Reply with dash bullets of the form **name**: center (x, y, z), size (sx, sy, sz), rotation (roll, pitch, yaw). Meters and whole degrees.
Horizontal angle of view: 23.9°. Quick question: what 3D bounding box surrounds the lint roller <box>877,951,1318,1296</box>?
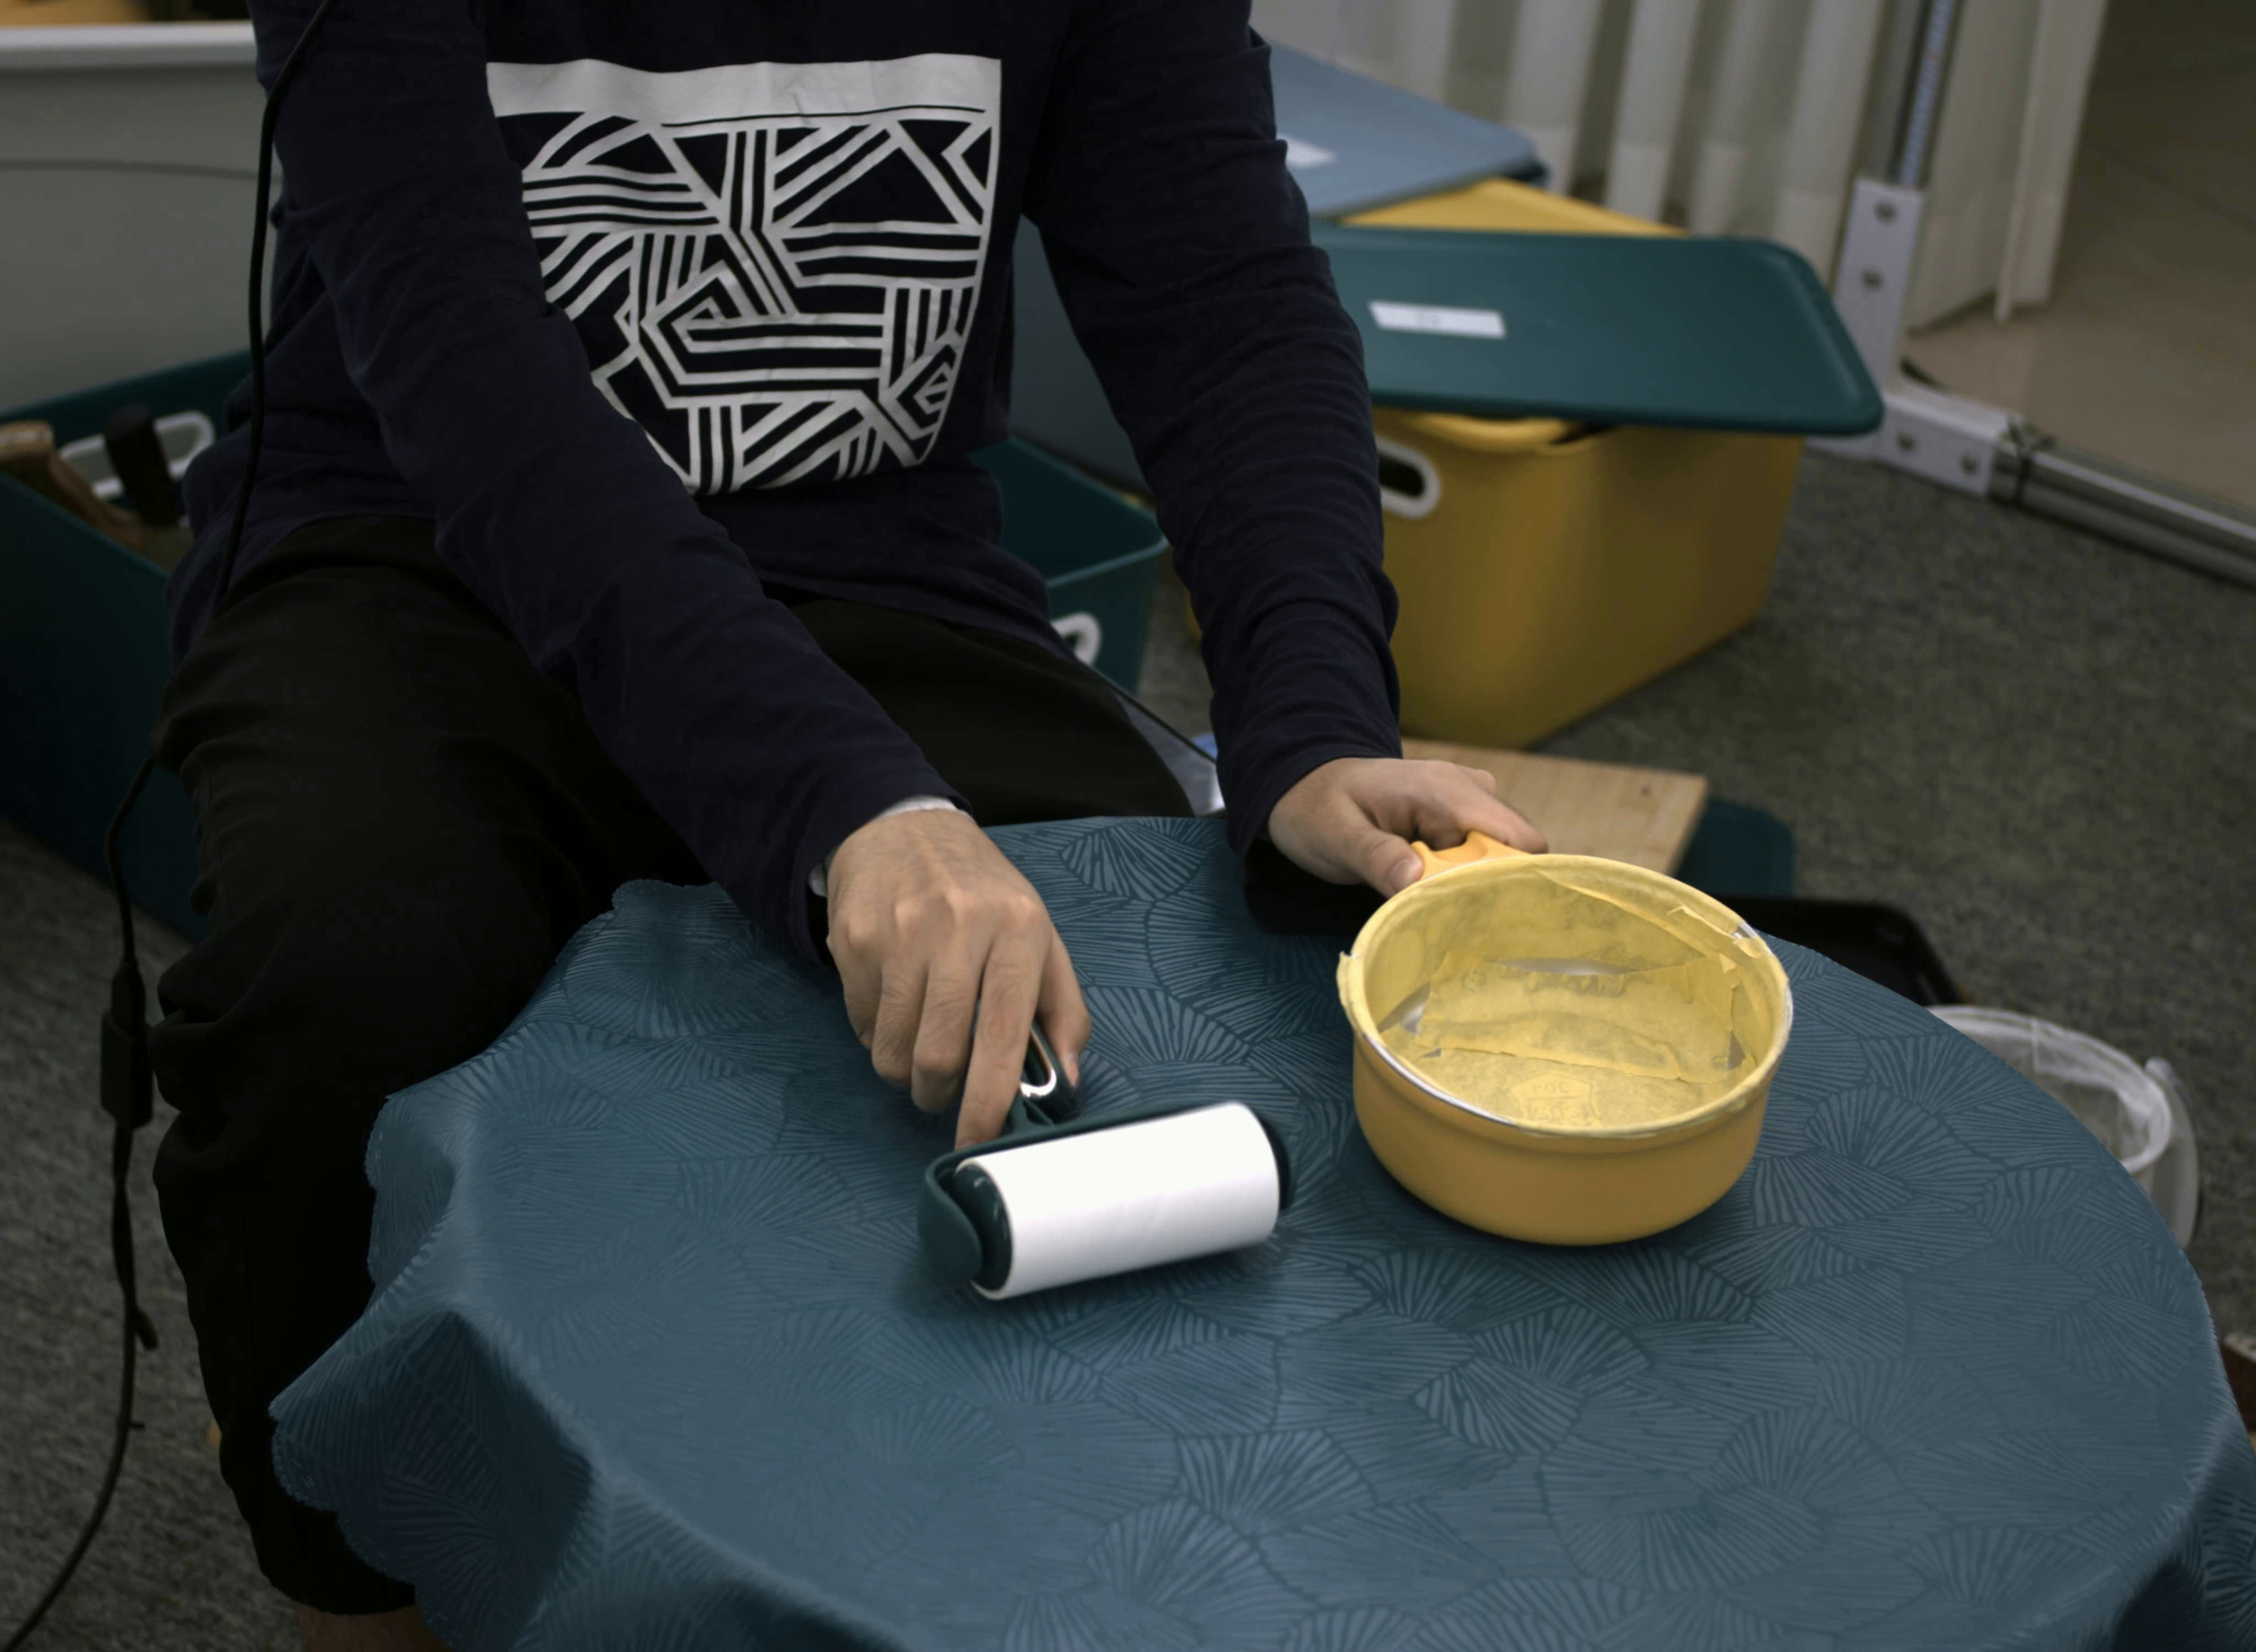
- **lint roller**: center (-0.036, 0.081, 1.794), size (0.133, 0.048, 0.182), rotation (-13, 42, -25)

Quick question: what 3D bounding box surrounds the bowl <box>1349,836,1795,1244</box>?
- **bowl**: center (0.145, 0.073, 1.846), size (0.152, 0.074, 0.181), rotation (-16, 41, -23)
